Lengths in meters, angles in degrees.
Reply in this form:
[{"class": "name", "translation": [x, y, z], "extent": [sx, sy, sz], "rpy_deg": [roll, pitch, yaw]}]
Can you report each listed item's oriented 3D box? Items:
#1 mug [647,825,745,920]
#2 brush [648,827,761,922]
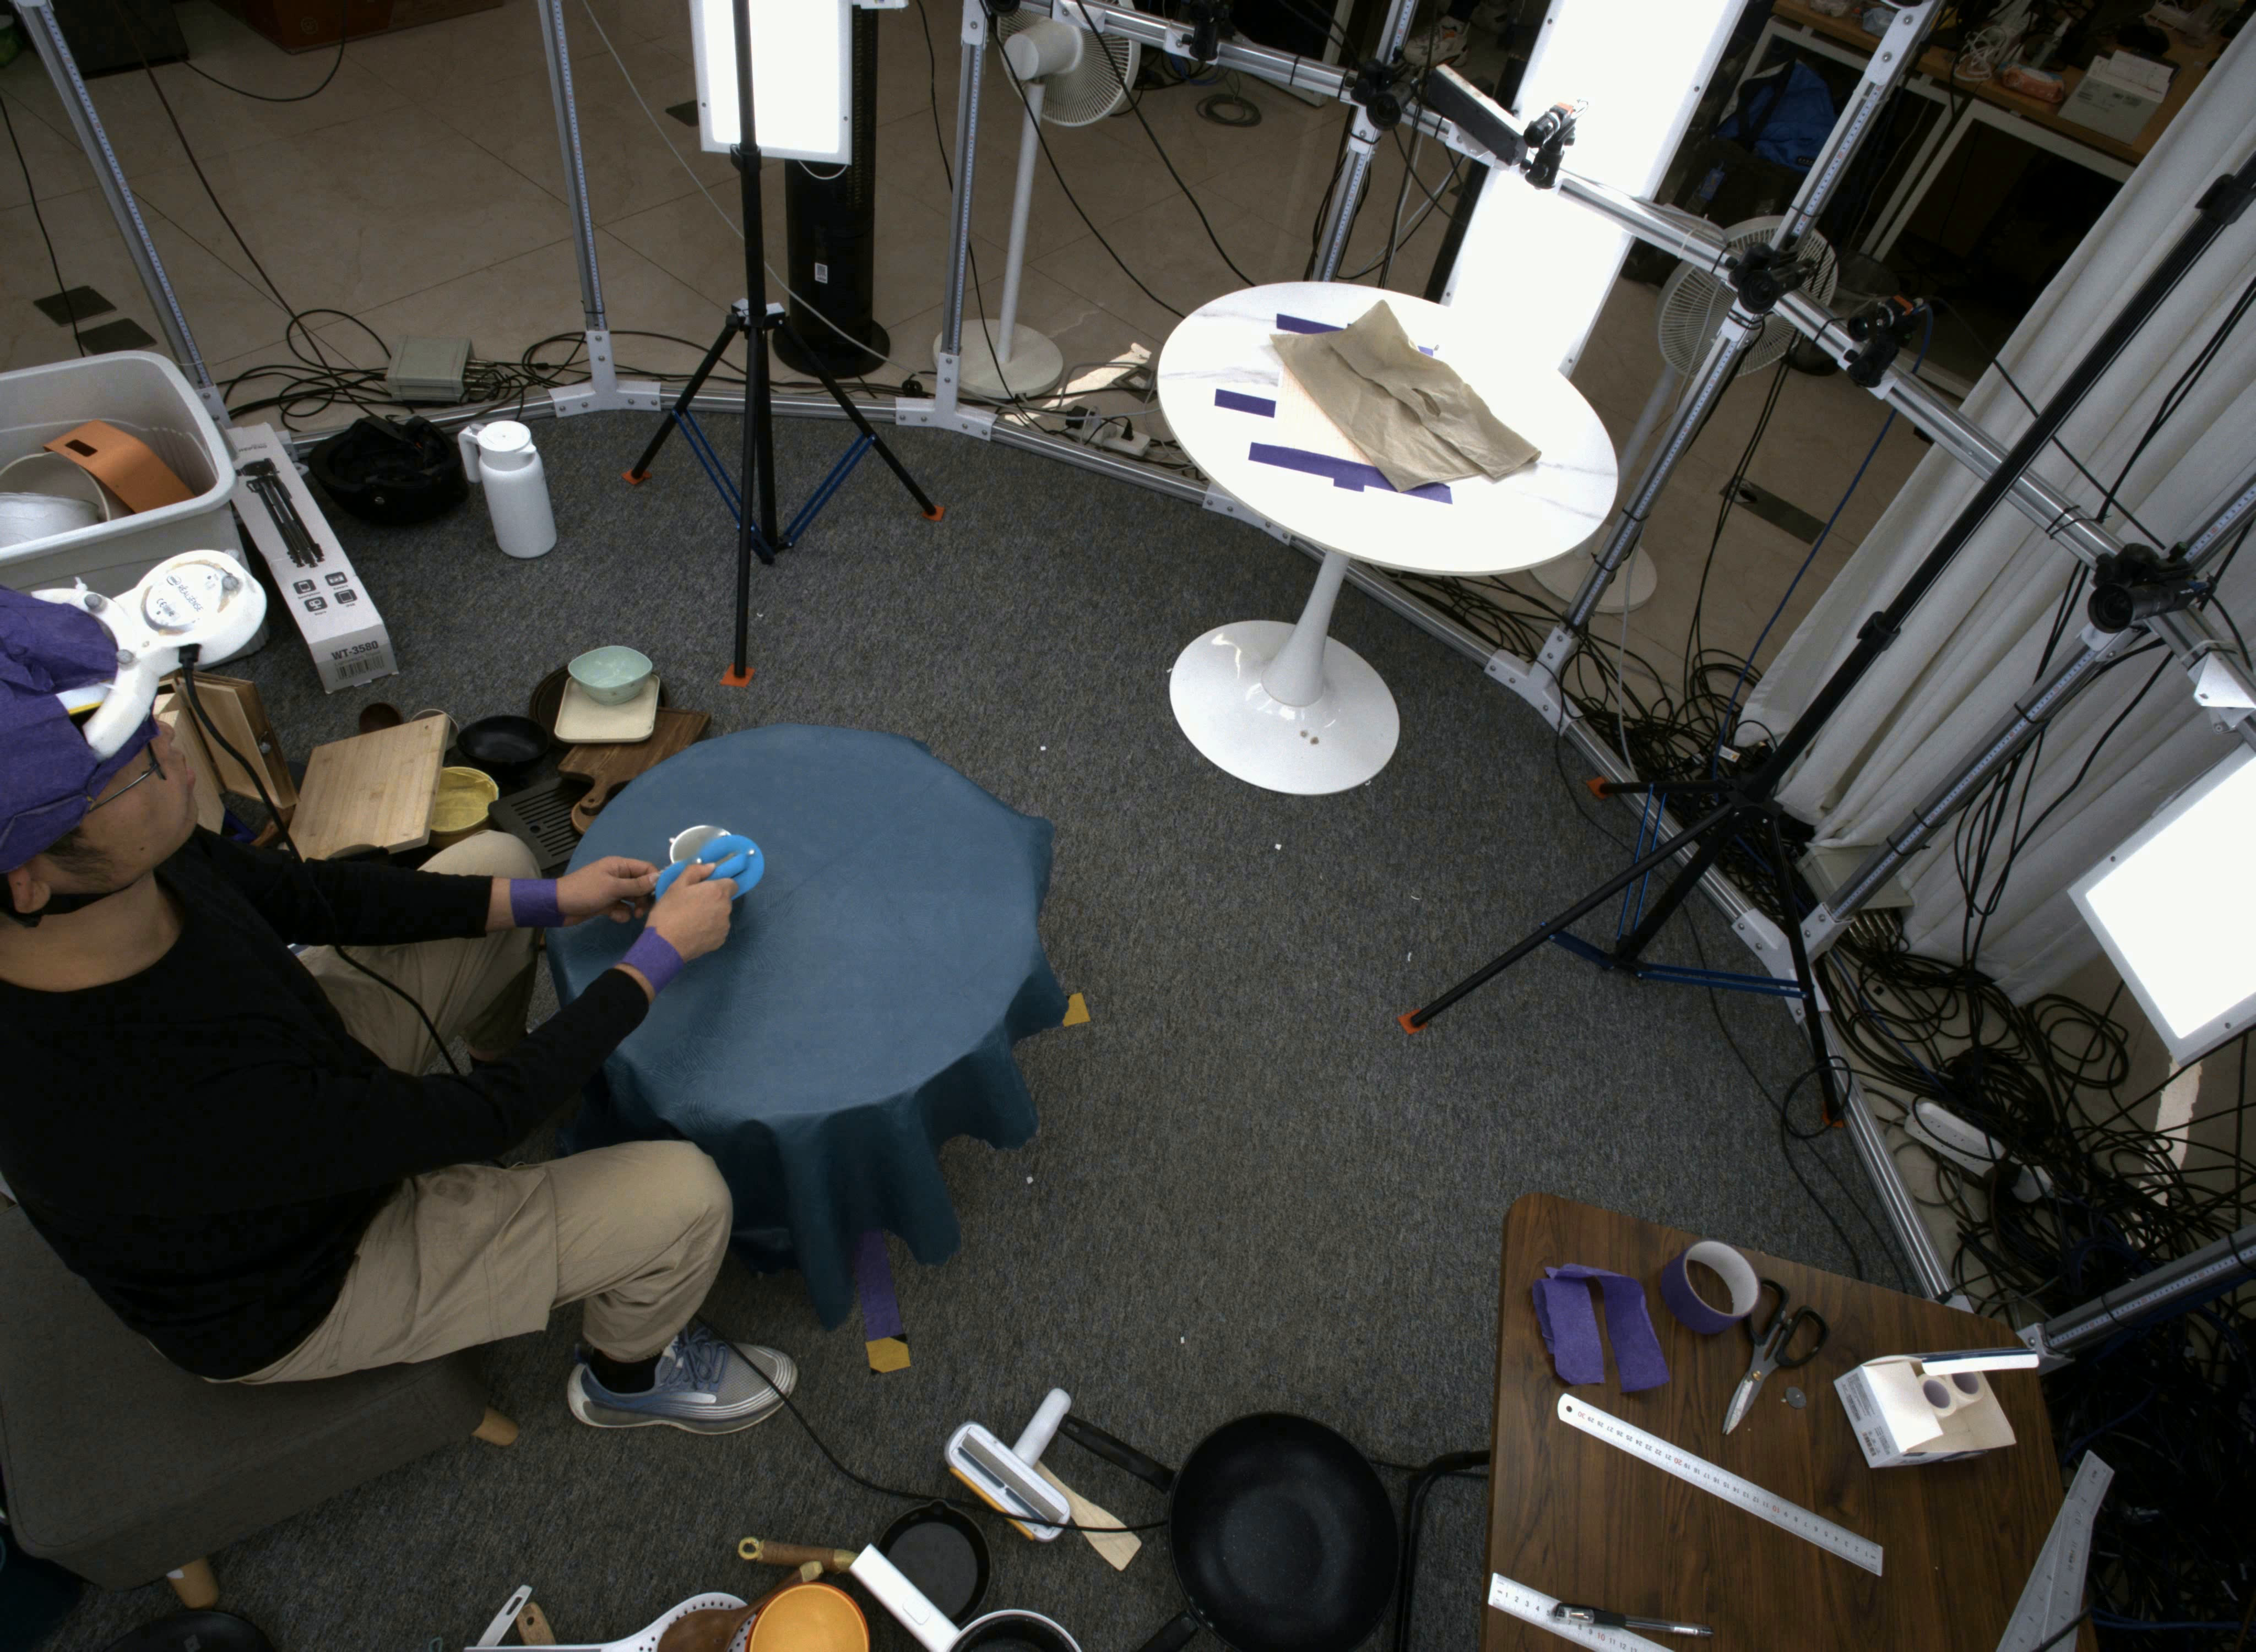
[{"class": "mug", "translation": [-0.535, 0.060, 1.594], "extent": [0.124, 0.092, 0.091], "rpy_deg": [-24, 61, -30]}, {"class": "brush", "translation": [-0.500, 0.057, 1.539], "extent": [0.142, 0.062, 0.086], "rpy_deg": [-32, 105, -27]}]
